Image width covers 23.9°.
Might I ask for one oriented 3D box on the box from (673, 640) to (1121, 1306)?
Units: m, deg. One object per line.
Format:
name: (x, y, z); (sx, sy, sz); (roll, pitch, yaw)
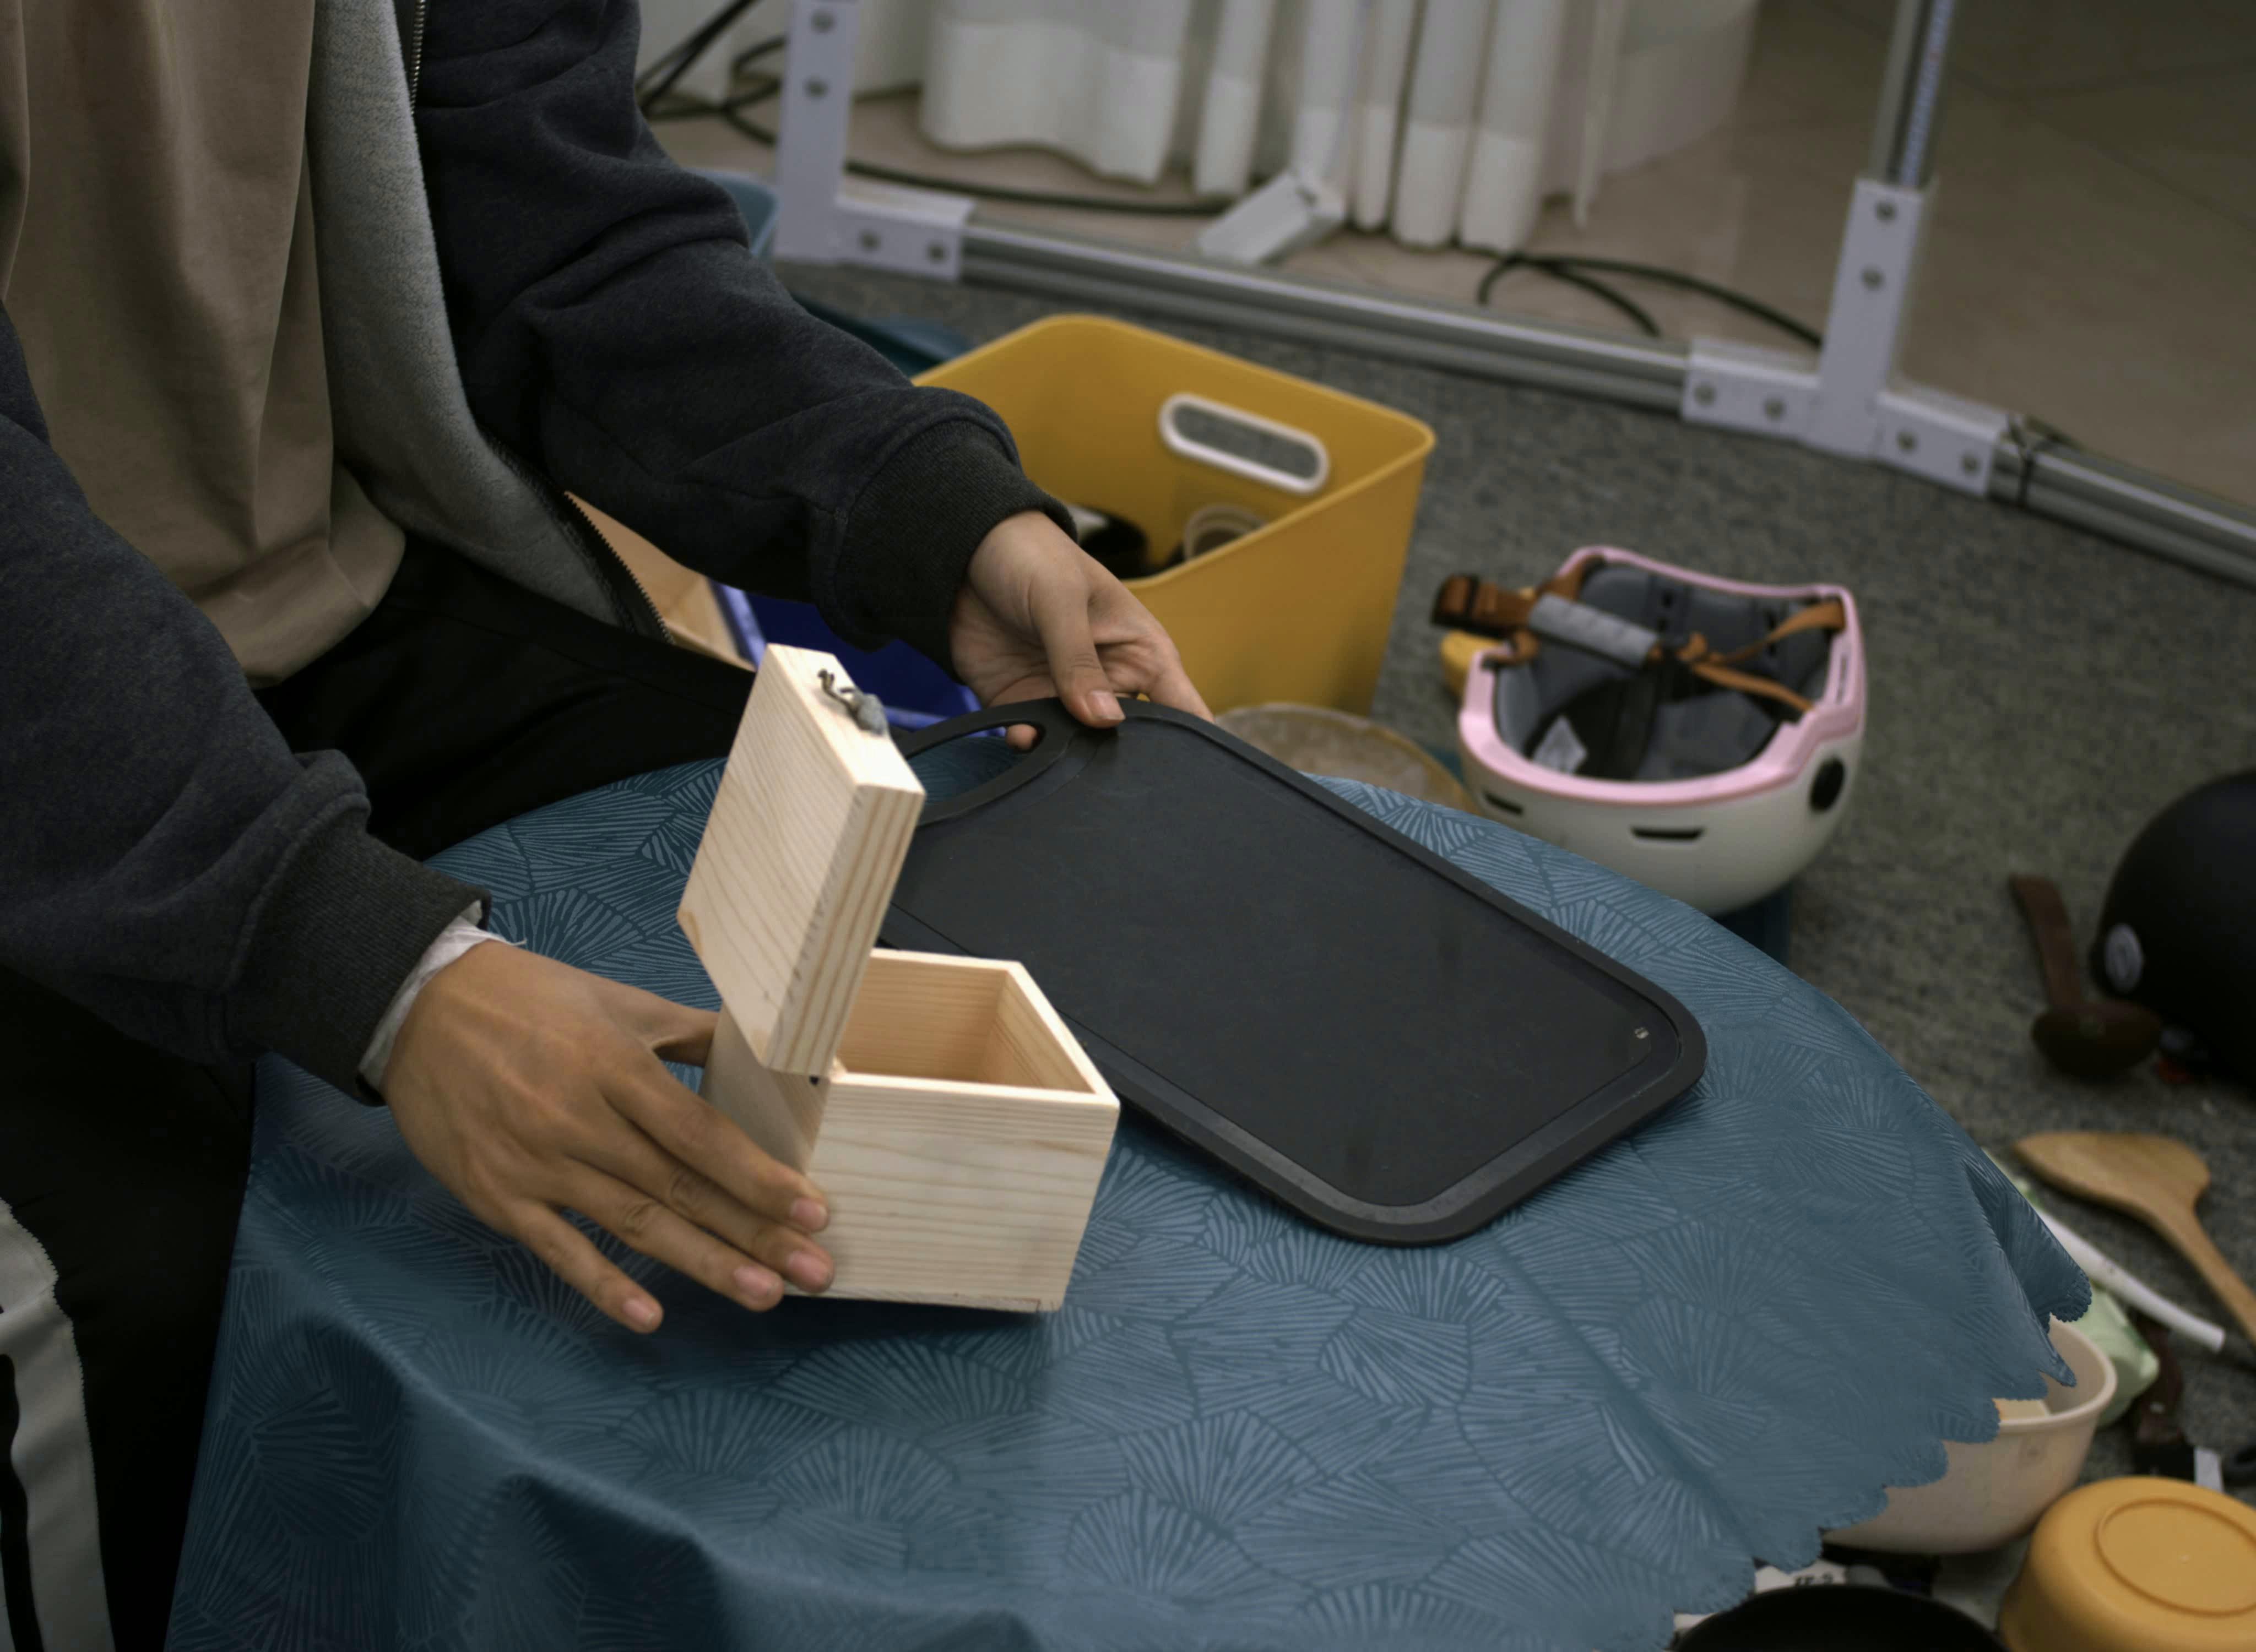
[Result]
box: (-0.069, 0.047, 1.701); (0.133, 0.184, 0.103); (5, 23, -25)

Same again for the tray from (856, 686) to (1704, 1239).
tray: (0.036, 0.039, 1.919); (0.327, 0.010, 0.210); (32, 39, 29)
